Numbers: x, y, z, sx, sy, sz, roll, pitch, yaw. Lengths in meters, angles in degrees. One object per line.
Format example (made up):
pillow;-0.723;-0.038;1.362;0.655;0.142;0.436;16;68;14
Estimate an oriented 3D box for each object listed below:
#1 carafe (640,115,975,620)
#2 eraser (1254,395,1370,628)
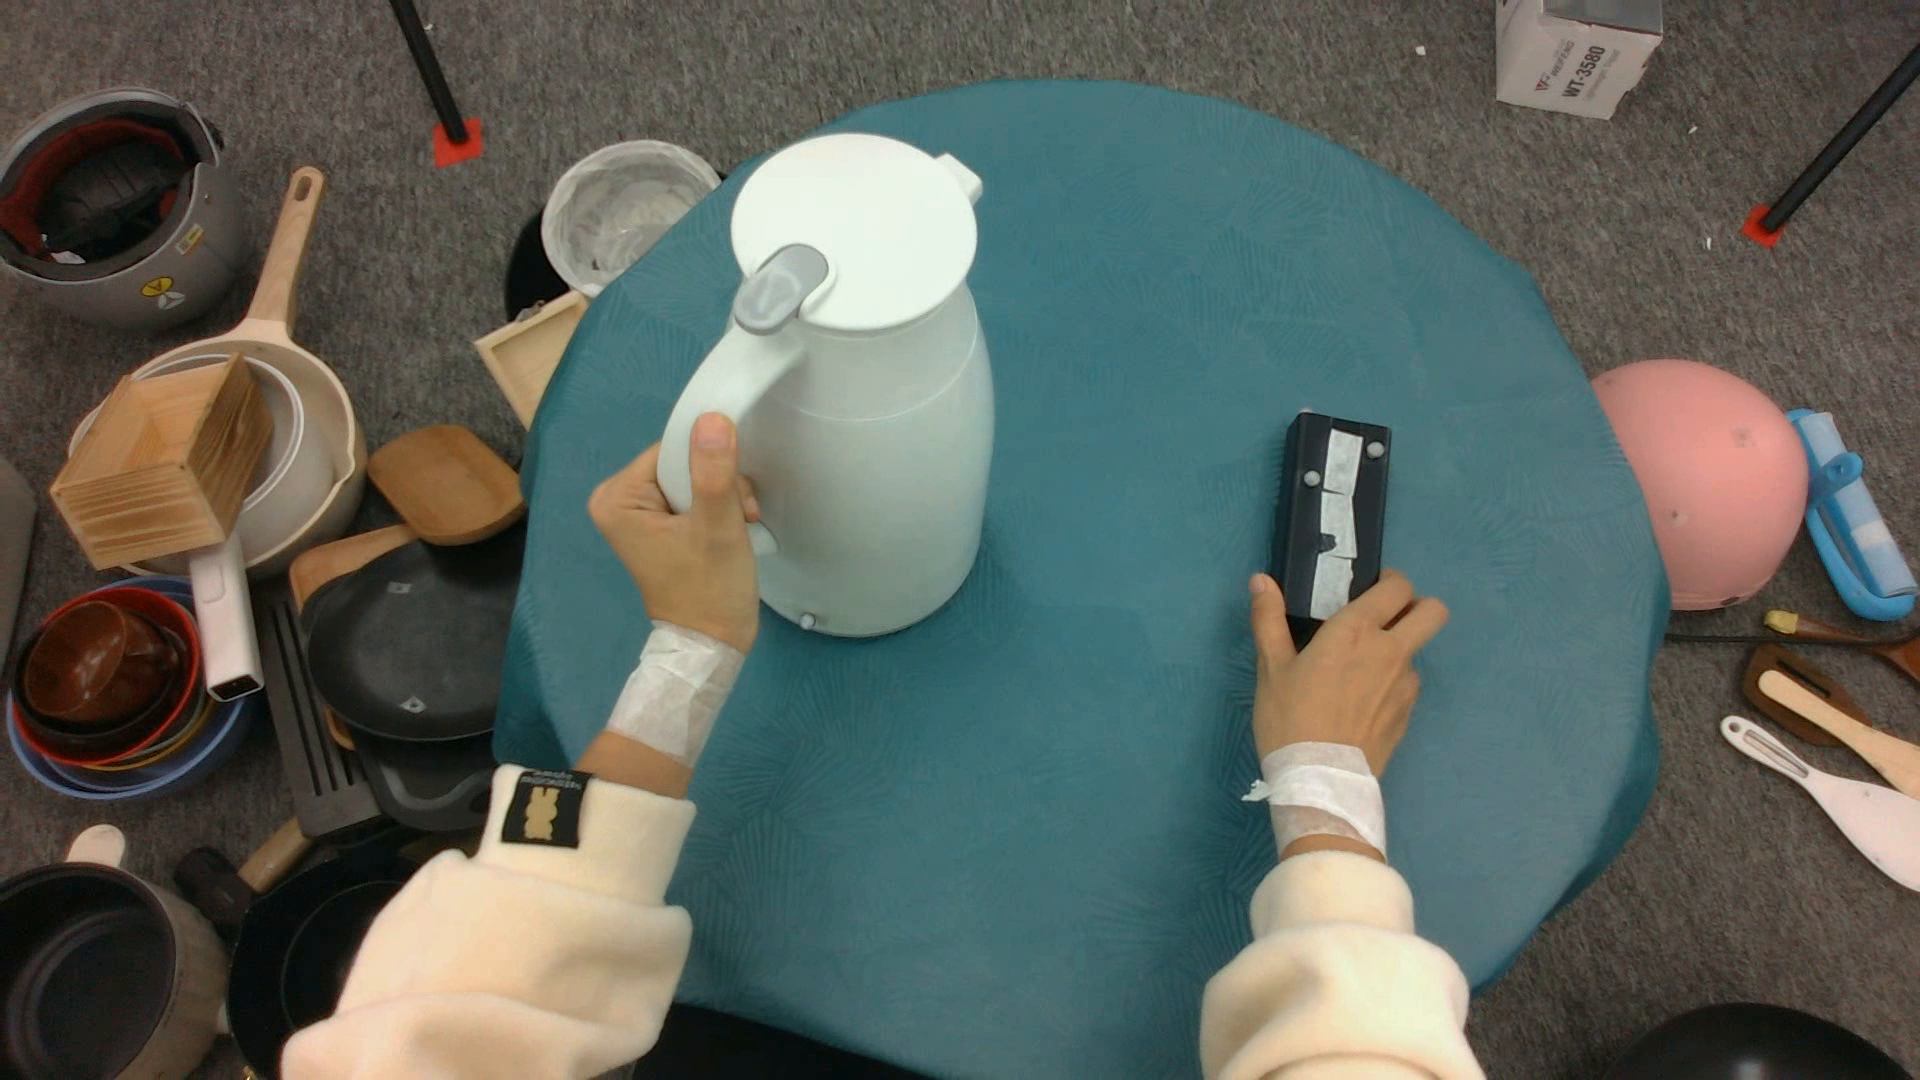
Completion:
carafe;-0.067;-0.059;0.609;0.132;0.247;0.168;39;67;14
eraser;0.186;-0.017;0.729;0.053;0.030;0.126;9;65;3
